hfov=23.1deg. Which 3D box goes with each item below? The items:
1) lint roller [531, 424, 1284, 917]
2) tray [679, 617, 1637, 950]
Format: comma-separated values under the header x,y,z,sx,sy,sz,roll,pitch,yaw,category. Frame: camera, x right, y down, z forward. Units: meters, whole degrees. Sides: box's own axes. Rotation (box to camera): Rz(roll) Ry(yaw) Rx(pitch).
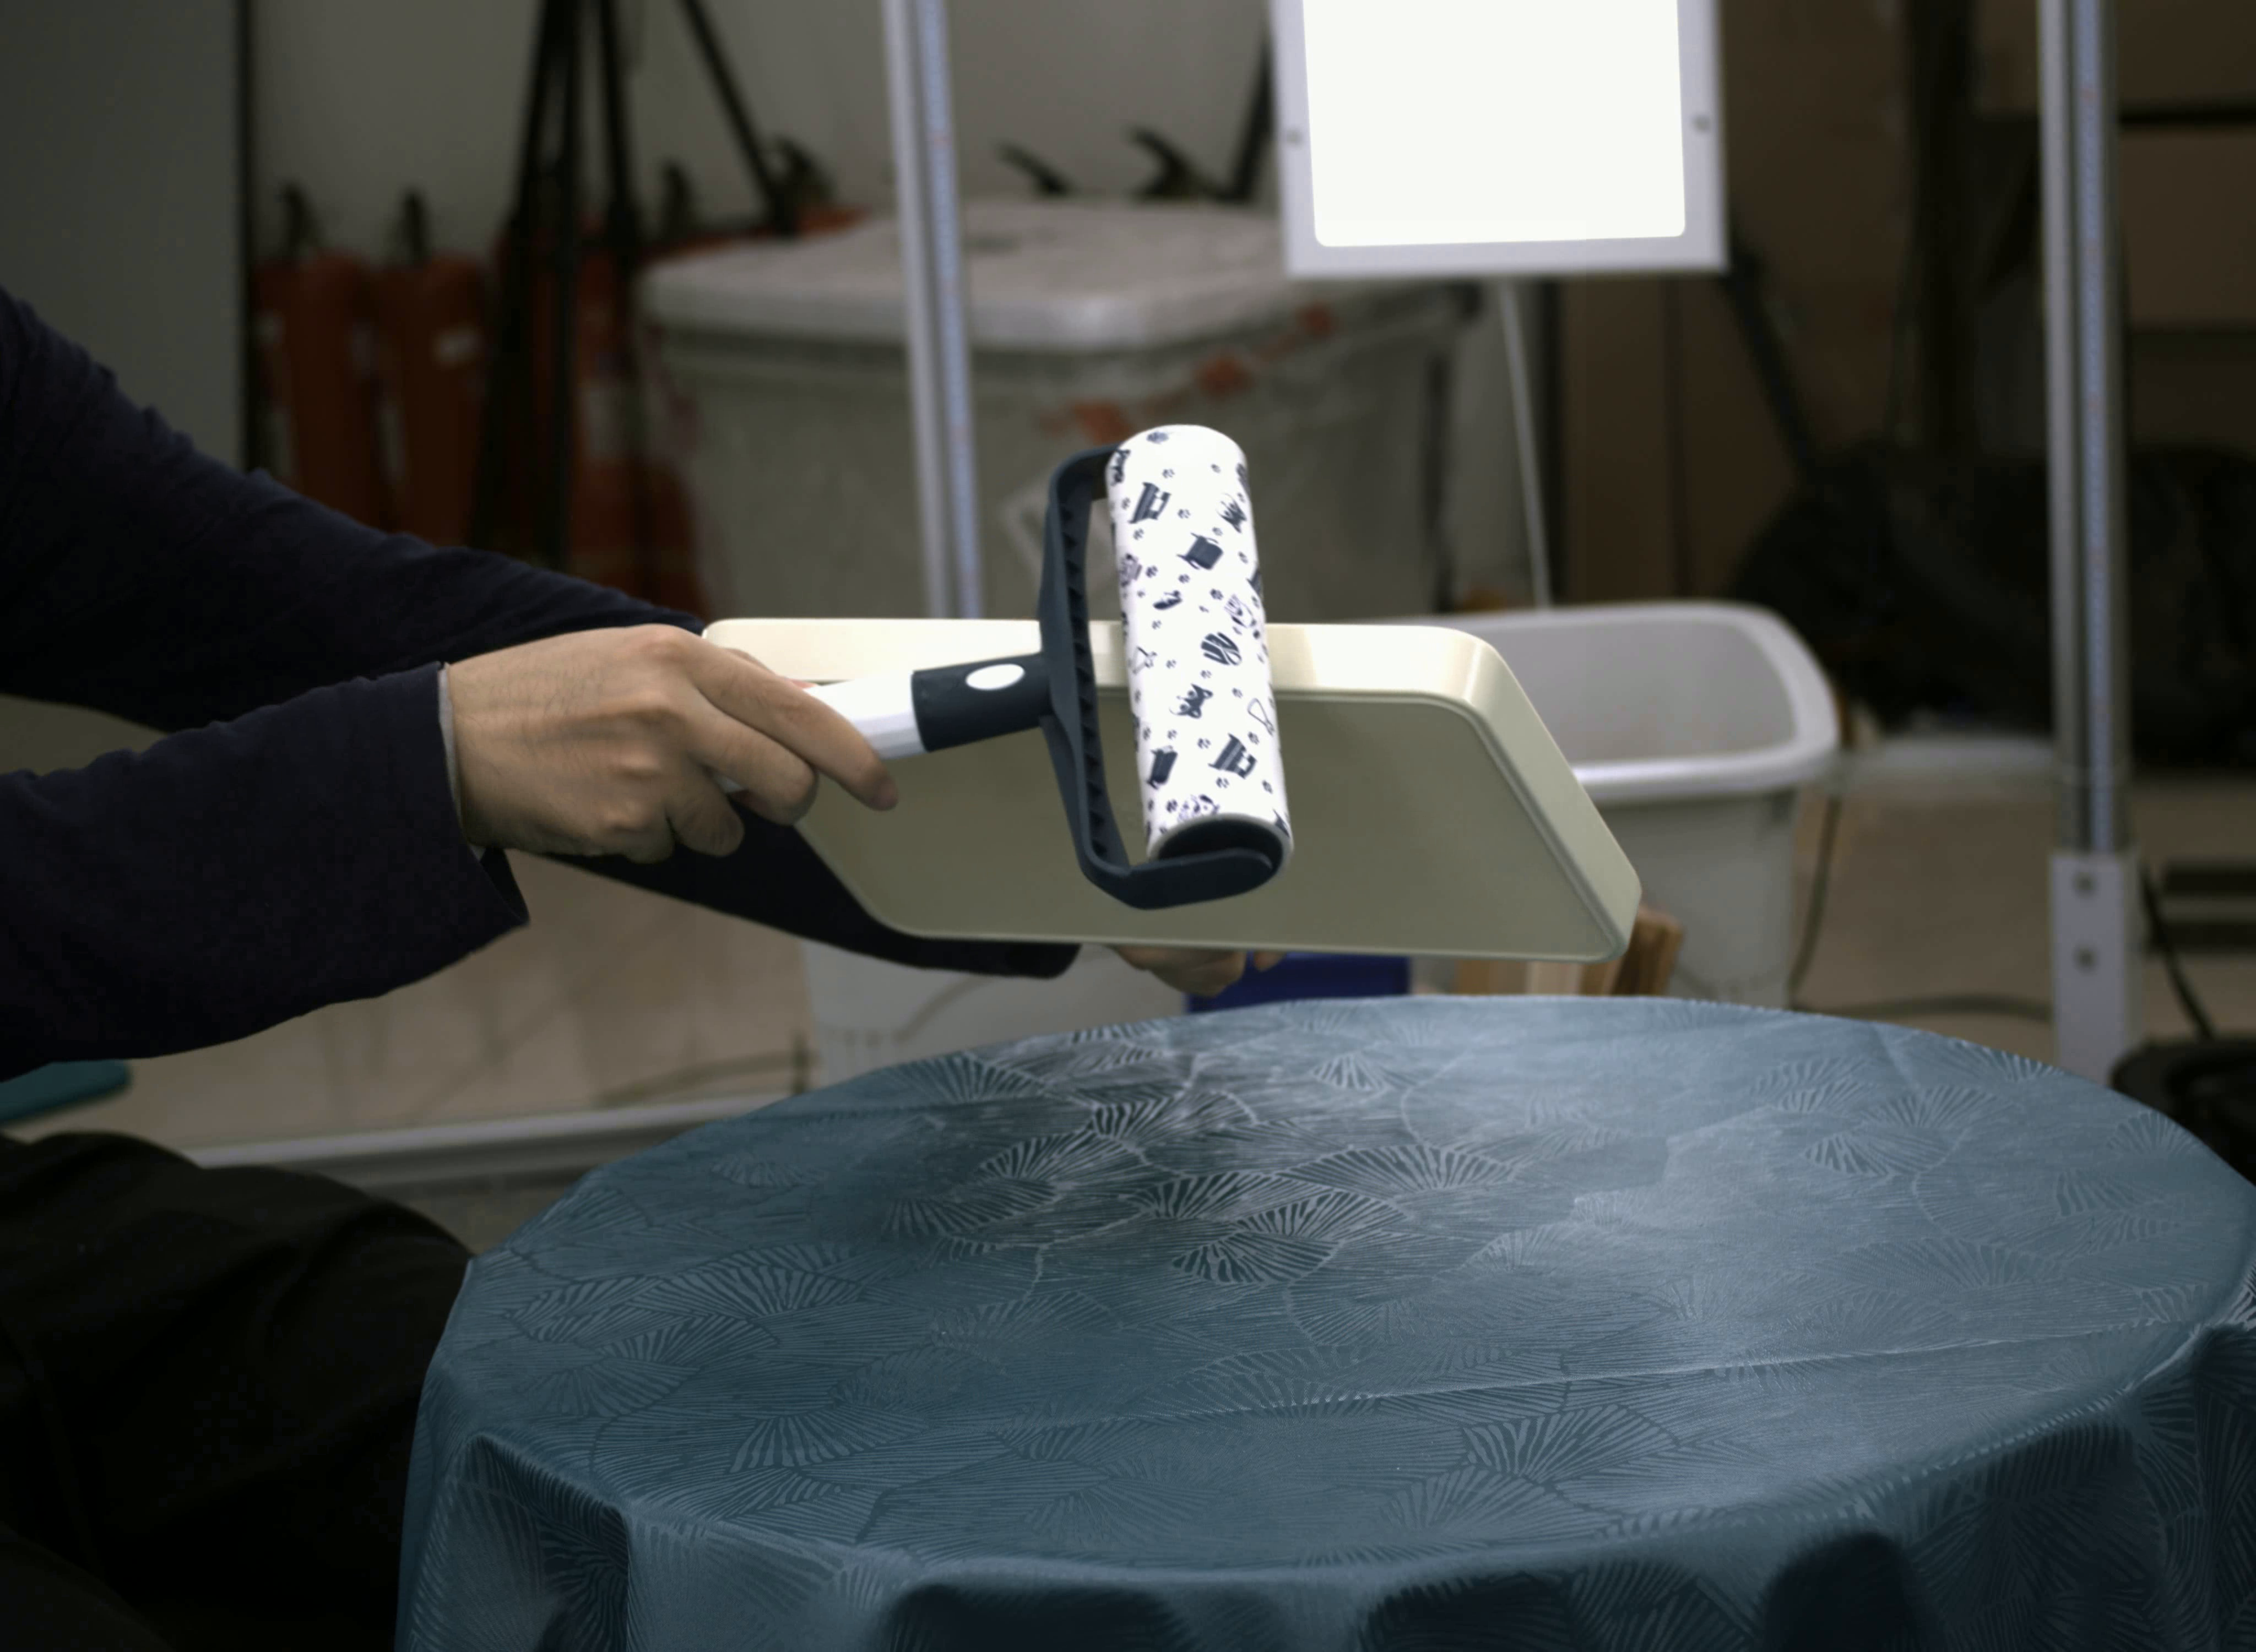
x,y,z,sx,sy,sz,roll,pitch,yaw,category
-0.077,-0.034,1.788,0.248,0.050,0.176,-12,55,8,lint roller
0.010,-0.014,1.905,0.306,0.027,0.189,1,-28,28,tray
